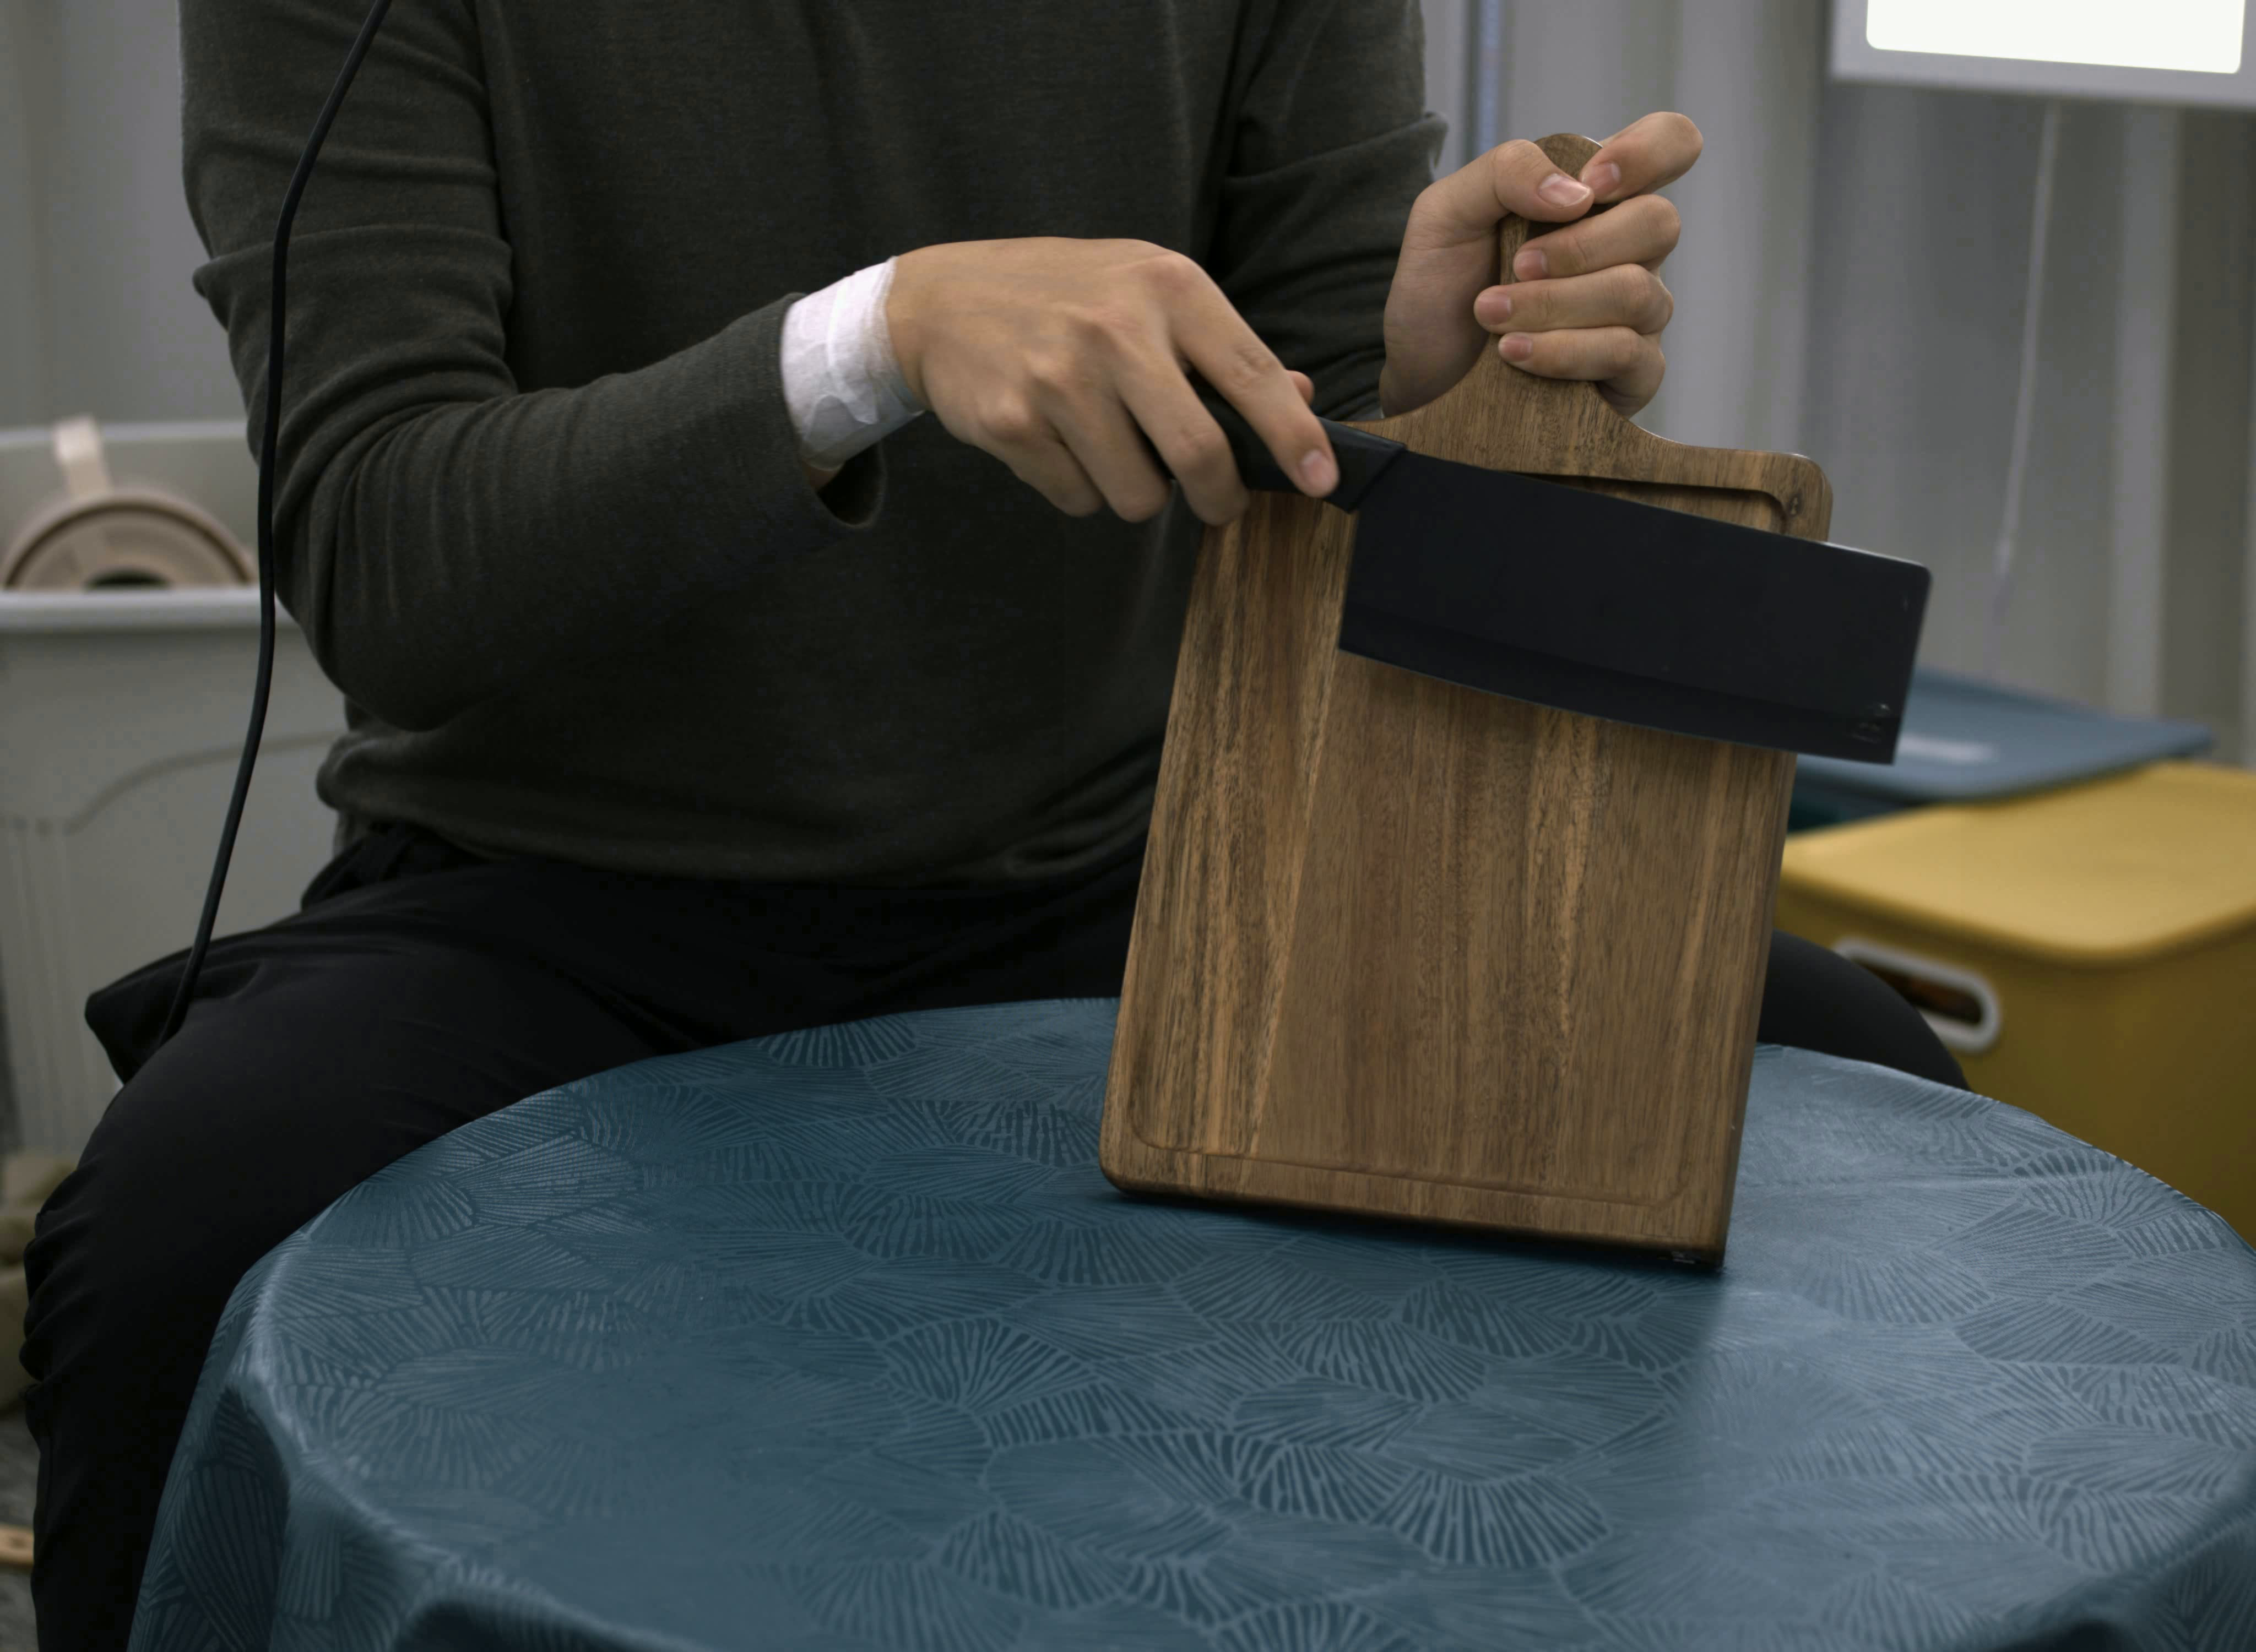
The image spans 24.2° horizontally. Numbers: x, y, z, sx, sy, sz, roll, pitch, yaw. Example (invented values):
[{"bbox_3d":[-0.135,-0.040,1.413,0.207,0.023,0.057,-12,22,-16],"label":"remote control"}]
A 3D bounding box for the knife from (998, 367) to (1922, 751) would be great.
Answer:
[{"bbox_3d":[0.095,-0.085,1.593,0.299,0.081,0.021,19,14,21],"label":"knife"}]

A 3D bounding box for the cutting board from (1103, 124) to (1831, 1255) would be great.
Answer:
[{"bbox_3d":[0.111,-0.049,1.622,0.199,0.352,0.023,6,-13,17],"label":"cutting board"}]
